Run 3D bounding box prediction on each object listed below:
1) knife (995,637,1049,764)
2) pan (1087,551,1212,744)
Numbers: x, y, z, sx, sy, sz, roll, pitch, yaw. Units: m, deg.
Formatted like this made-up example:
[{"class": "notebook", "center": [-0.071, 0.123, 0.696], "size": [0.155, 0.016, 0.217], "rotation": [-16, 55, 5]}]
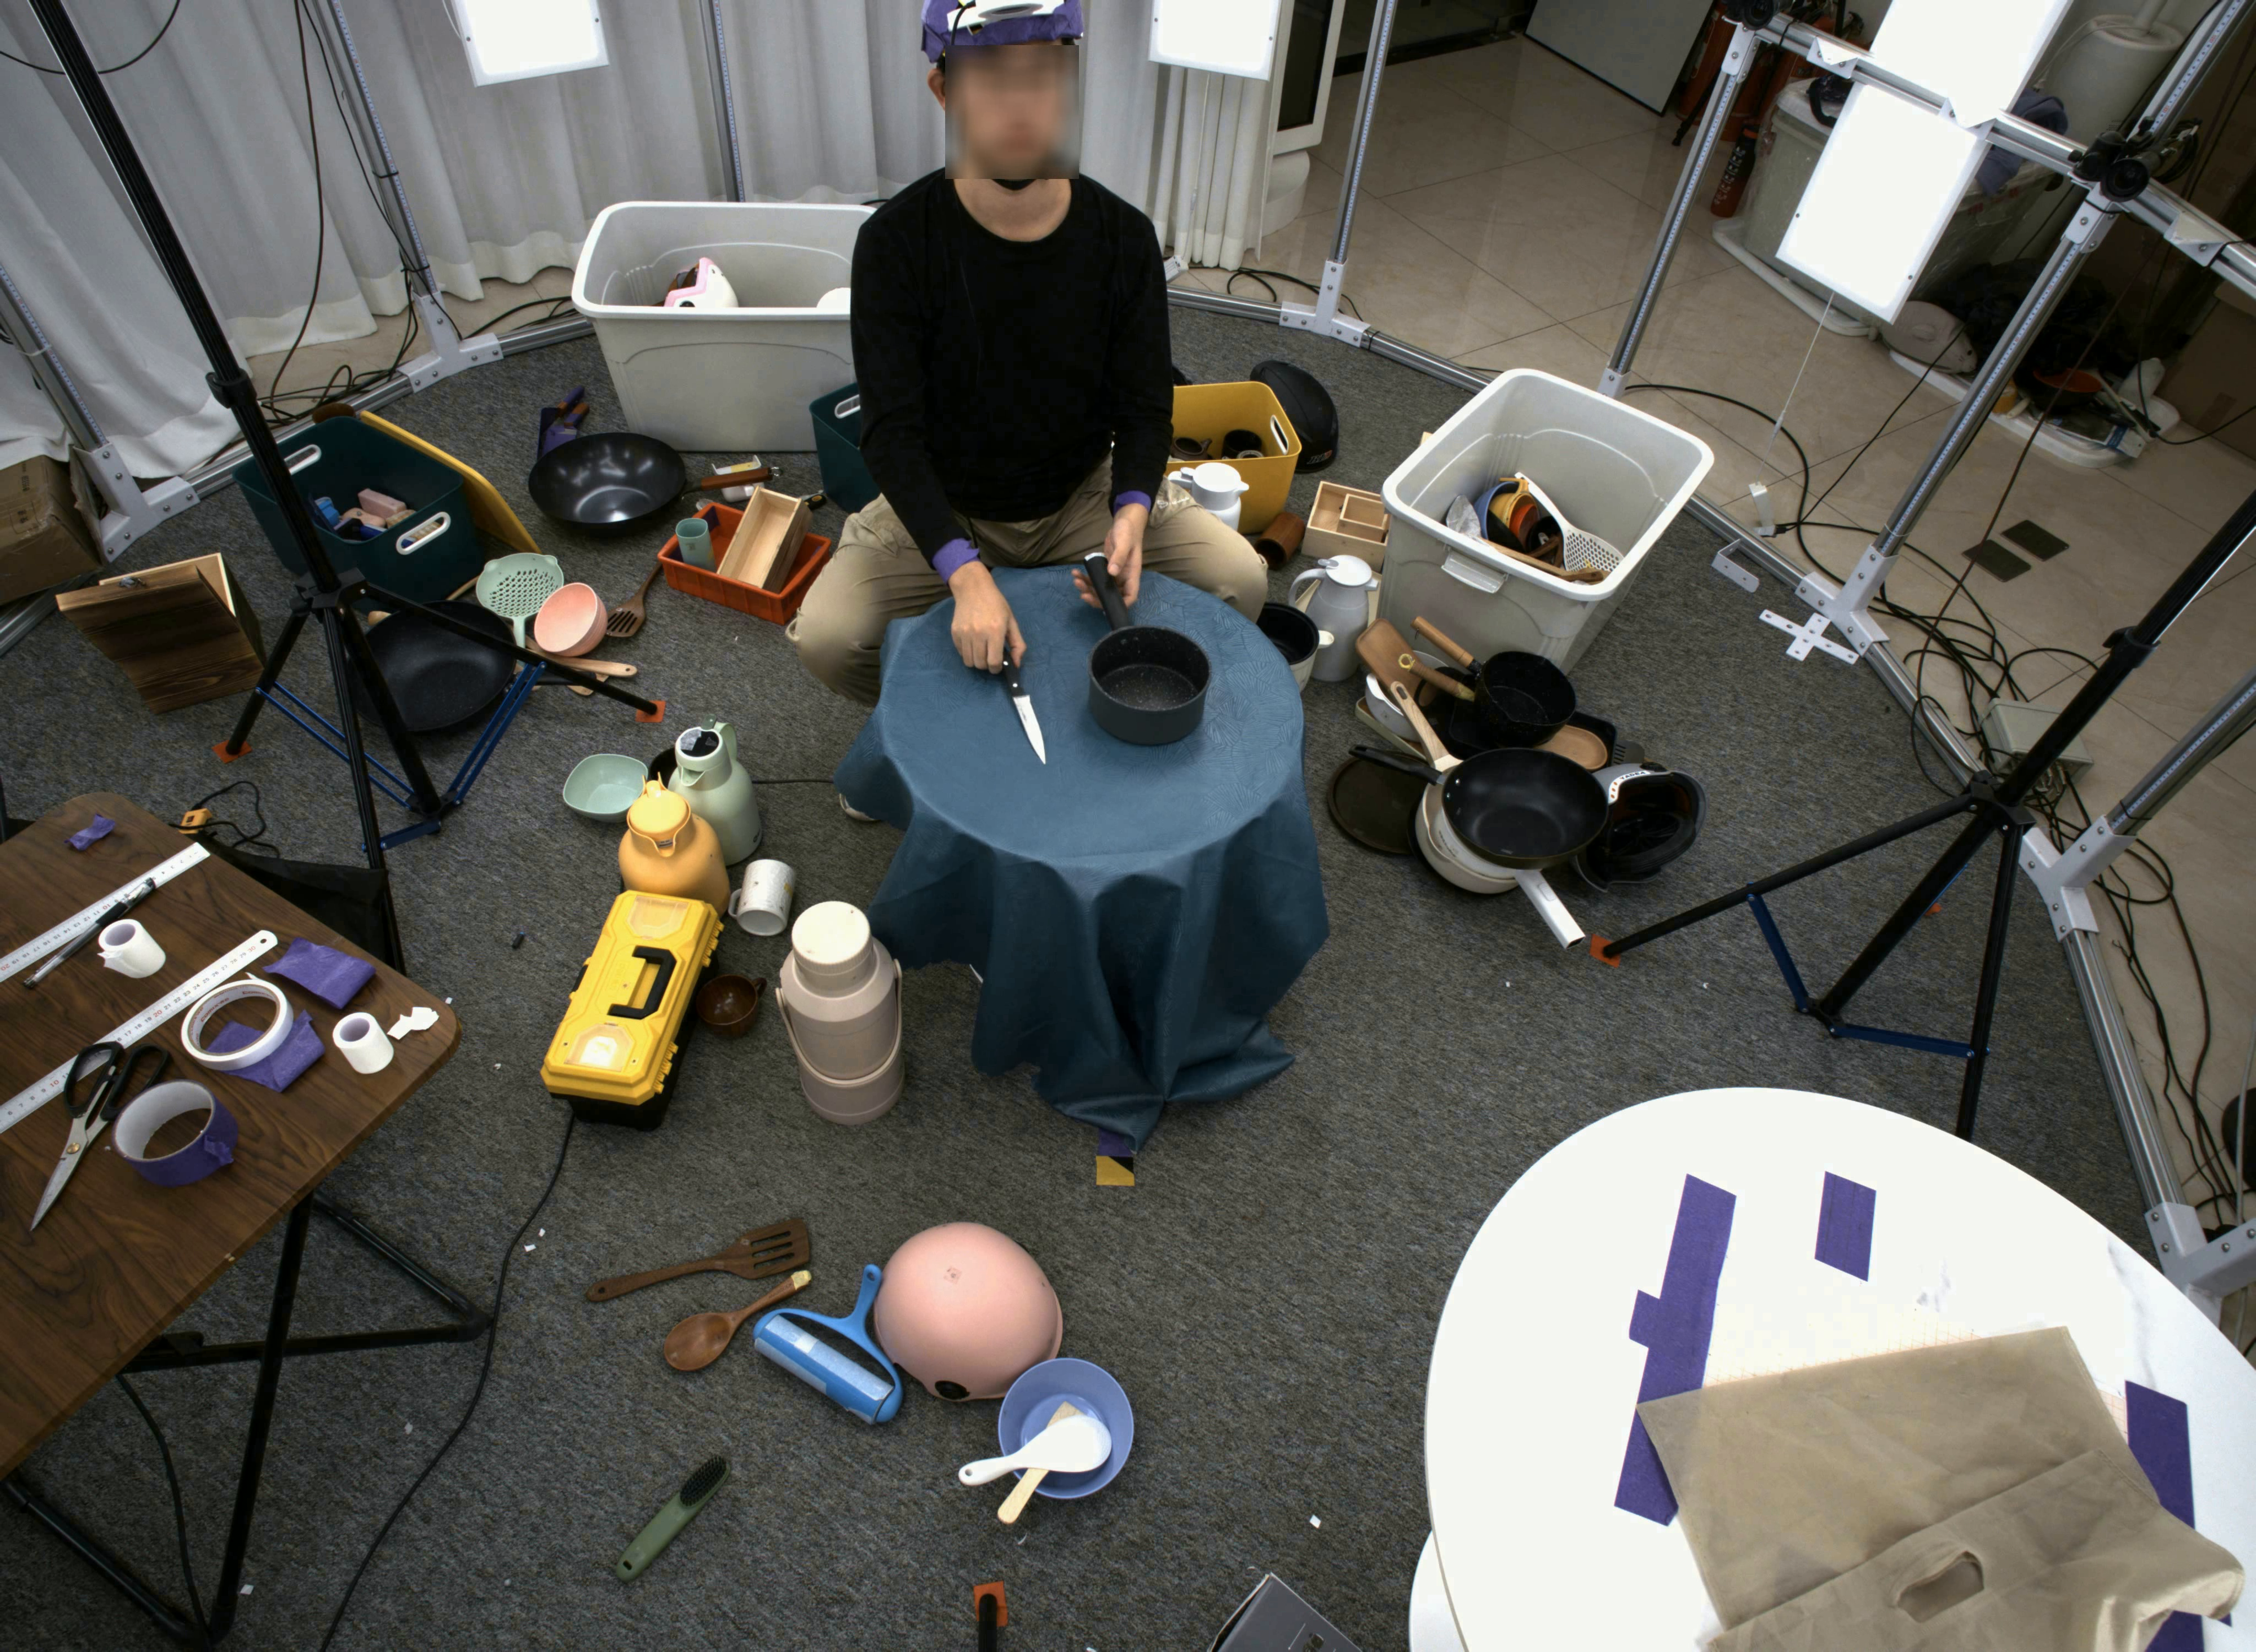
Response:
[{"class": "knife", "center": [-0.149, -0.178, 1.803], "size": [0.024, 0.016, 0.244], "rotation": [-12, 55, -15]}, {"class": "pan", "center": [0.006, -0.258, 1.839], "size": [0.172, 0.084, 0.337], "rotation": [-10, 51, -12]}]
